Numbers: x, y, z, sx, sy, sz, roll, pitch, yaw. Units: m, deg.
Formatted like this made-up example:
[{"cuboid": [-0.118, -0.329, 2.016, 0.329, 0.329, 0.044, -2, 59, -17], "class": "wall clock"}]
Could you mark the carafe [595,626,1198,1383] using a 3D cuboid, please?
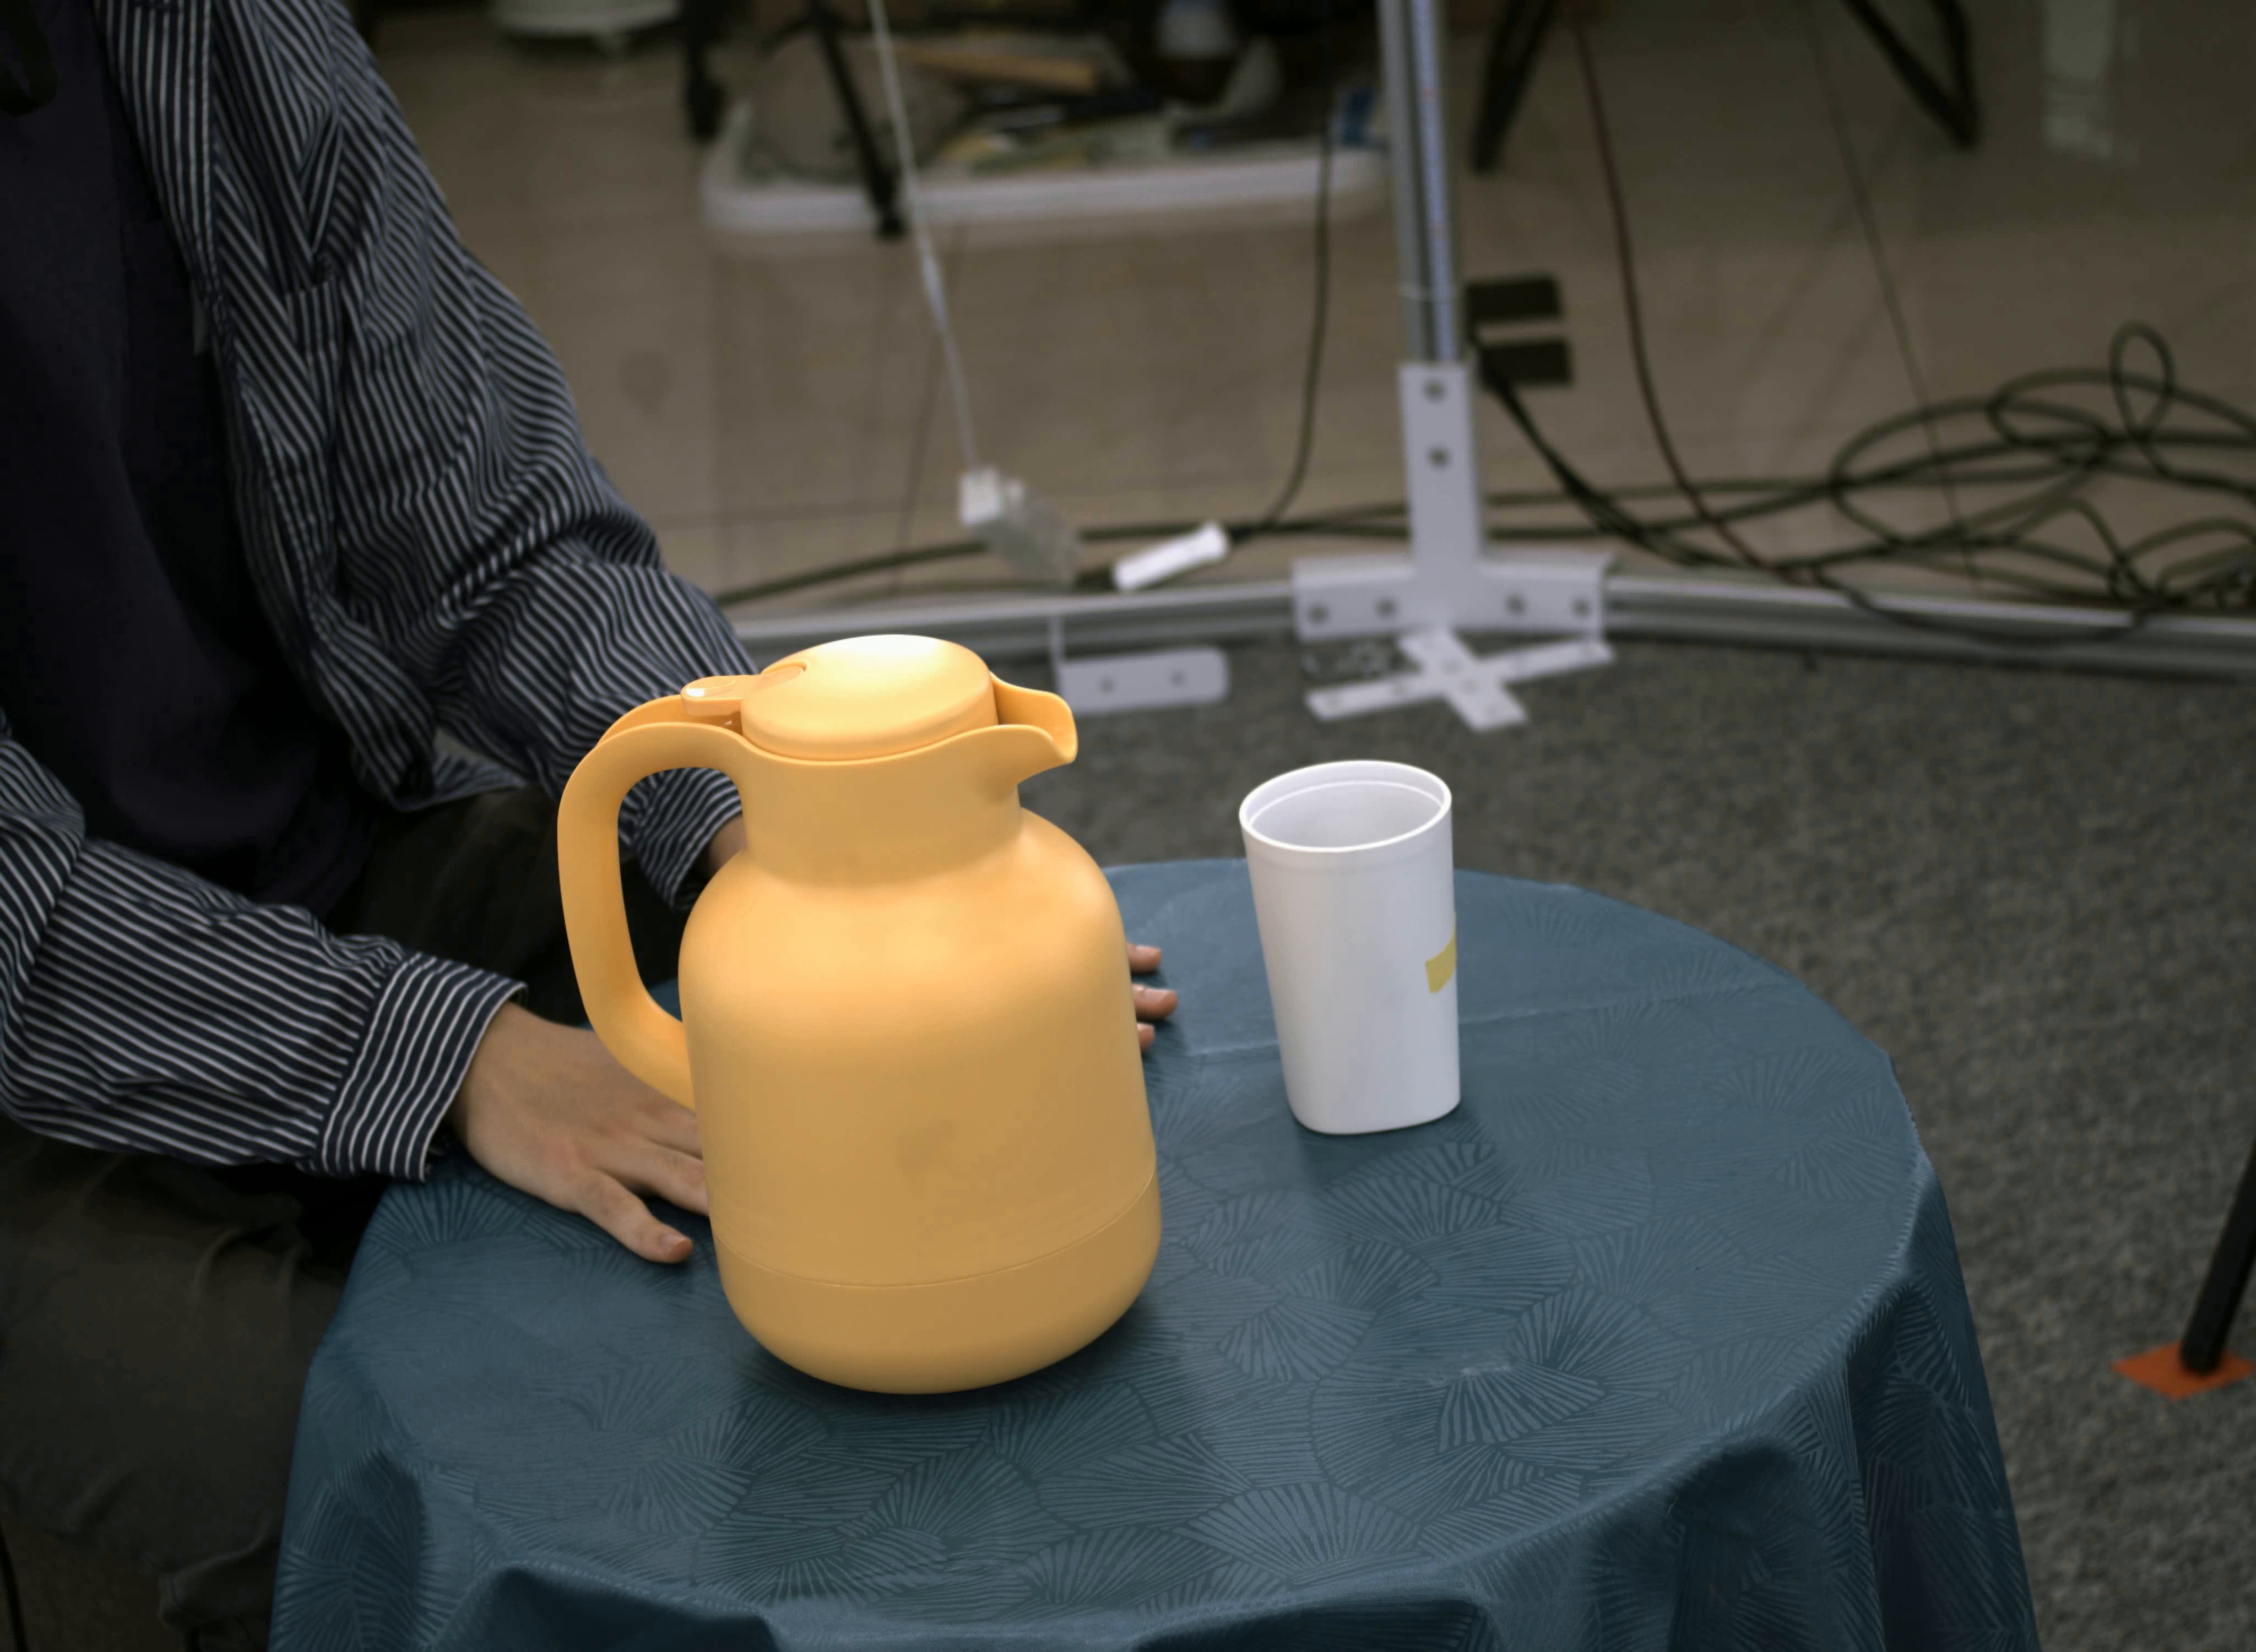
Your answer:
[{"cuboid": [-0.084, 0.059, 2.034, 0.202, 0.264, 0.161, 0, 26, 14], "class": "carafe"}]

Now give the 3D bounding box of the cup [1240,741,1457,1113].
[{"cuboid": [0.089, 0.040, 2.184, 0.081, 0.127, 0.080, -5, 26, 3], "class": "cup"}]
